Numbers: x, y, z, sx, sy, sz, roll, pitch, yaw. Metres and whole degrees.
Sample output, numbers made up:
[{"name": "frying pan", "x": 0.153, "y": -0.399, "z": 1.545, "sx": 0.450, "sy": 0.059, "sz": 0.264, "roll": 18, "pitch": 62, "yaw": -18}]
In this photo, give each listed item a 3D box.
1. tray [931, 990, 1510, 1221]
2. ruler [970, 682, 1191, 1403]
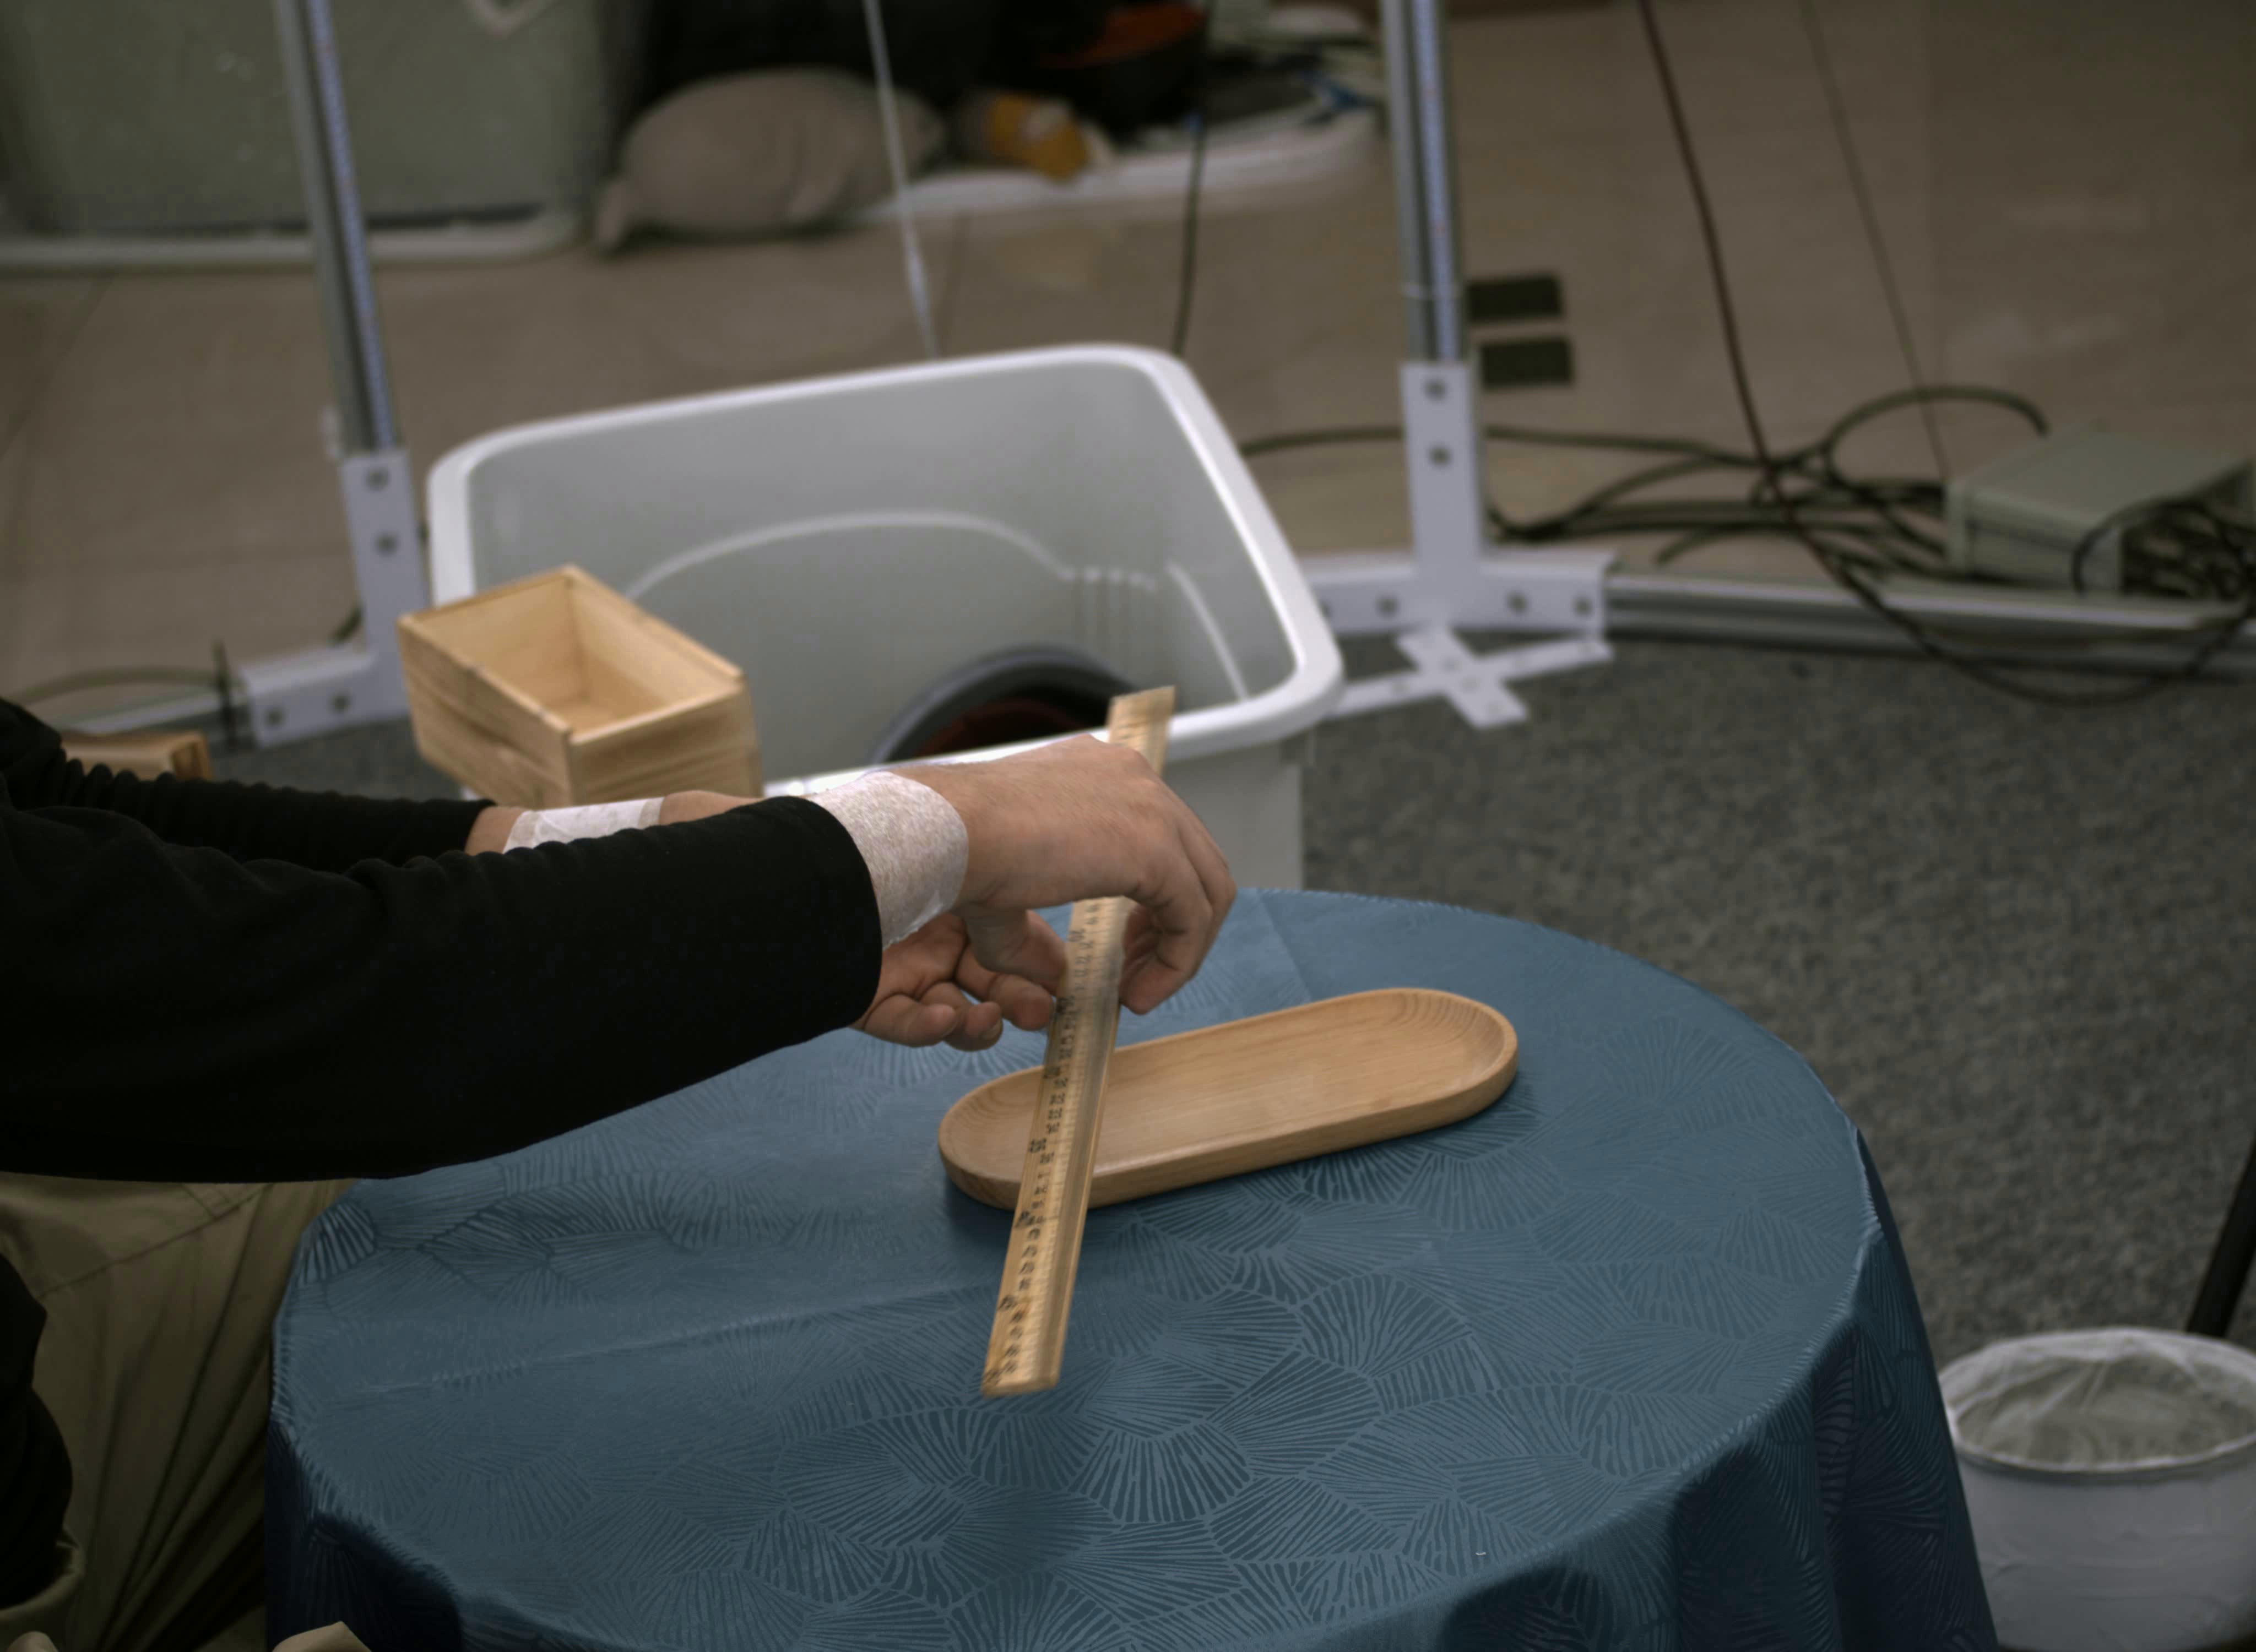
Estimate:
[{"name": "tray", "x": 0.037, "y": 0.108, "z": 2.186, "sx": 0.230, "sy": 0.020, "sz": 0.100, "roll": -15, "pitch": 25, "yaw": -14}, {"name": "ruler", "x": -0.014, "y": 0.065, "z": 2.050, "sx": 0.027, "sy": 0.006, "sz": 0.492, "roll": -12, "pitch": 27, "yaw": 13}]
